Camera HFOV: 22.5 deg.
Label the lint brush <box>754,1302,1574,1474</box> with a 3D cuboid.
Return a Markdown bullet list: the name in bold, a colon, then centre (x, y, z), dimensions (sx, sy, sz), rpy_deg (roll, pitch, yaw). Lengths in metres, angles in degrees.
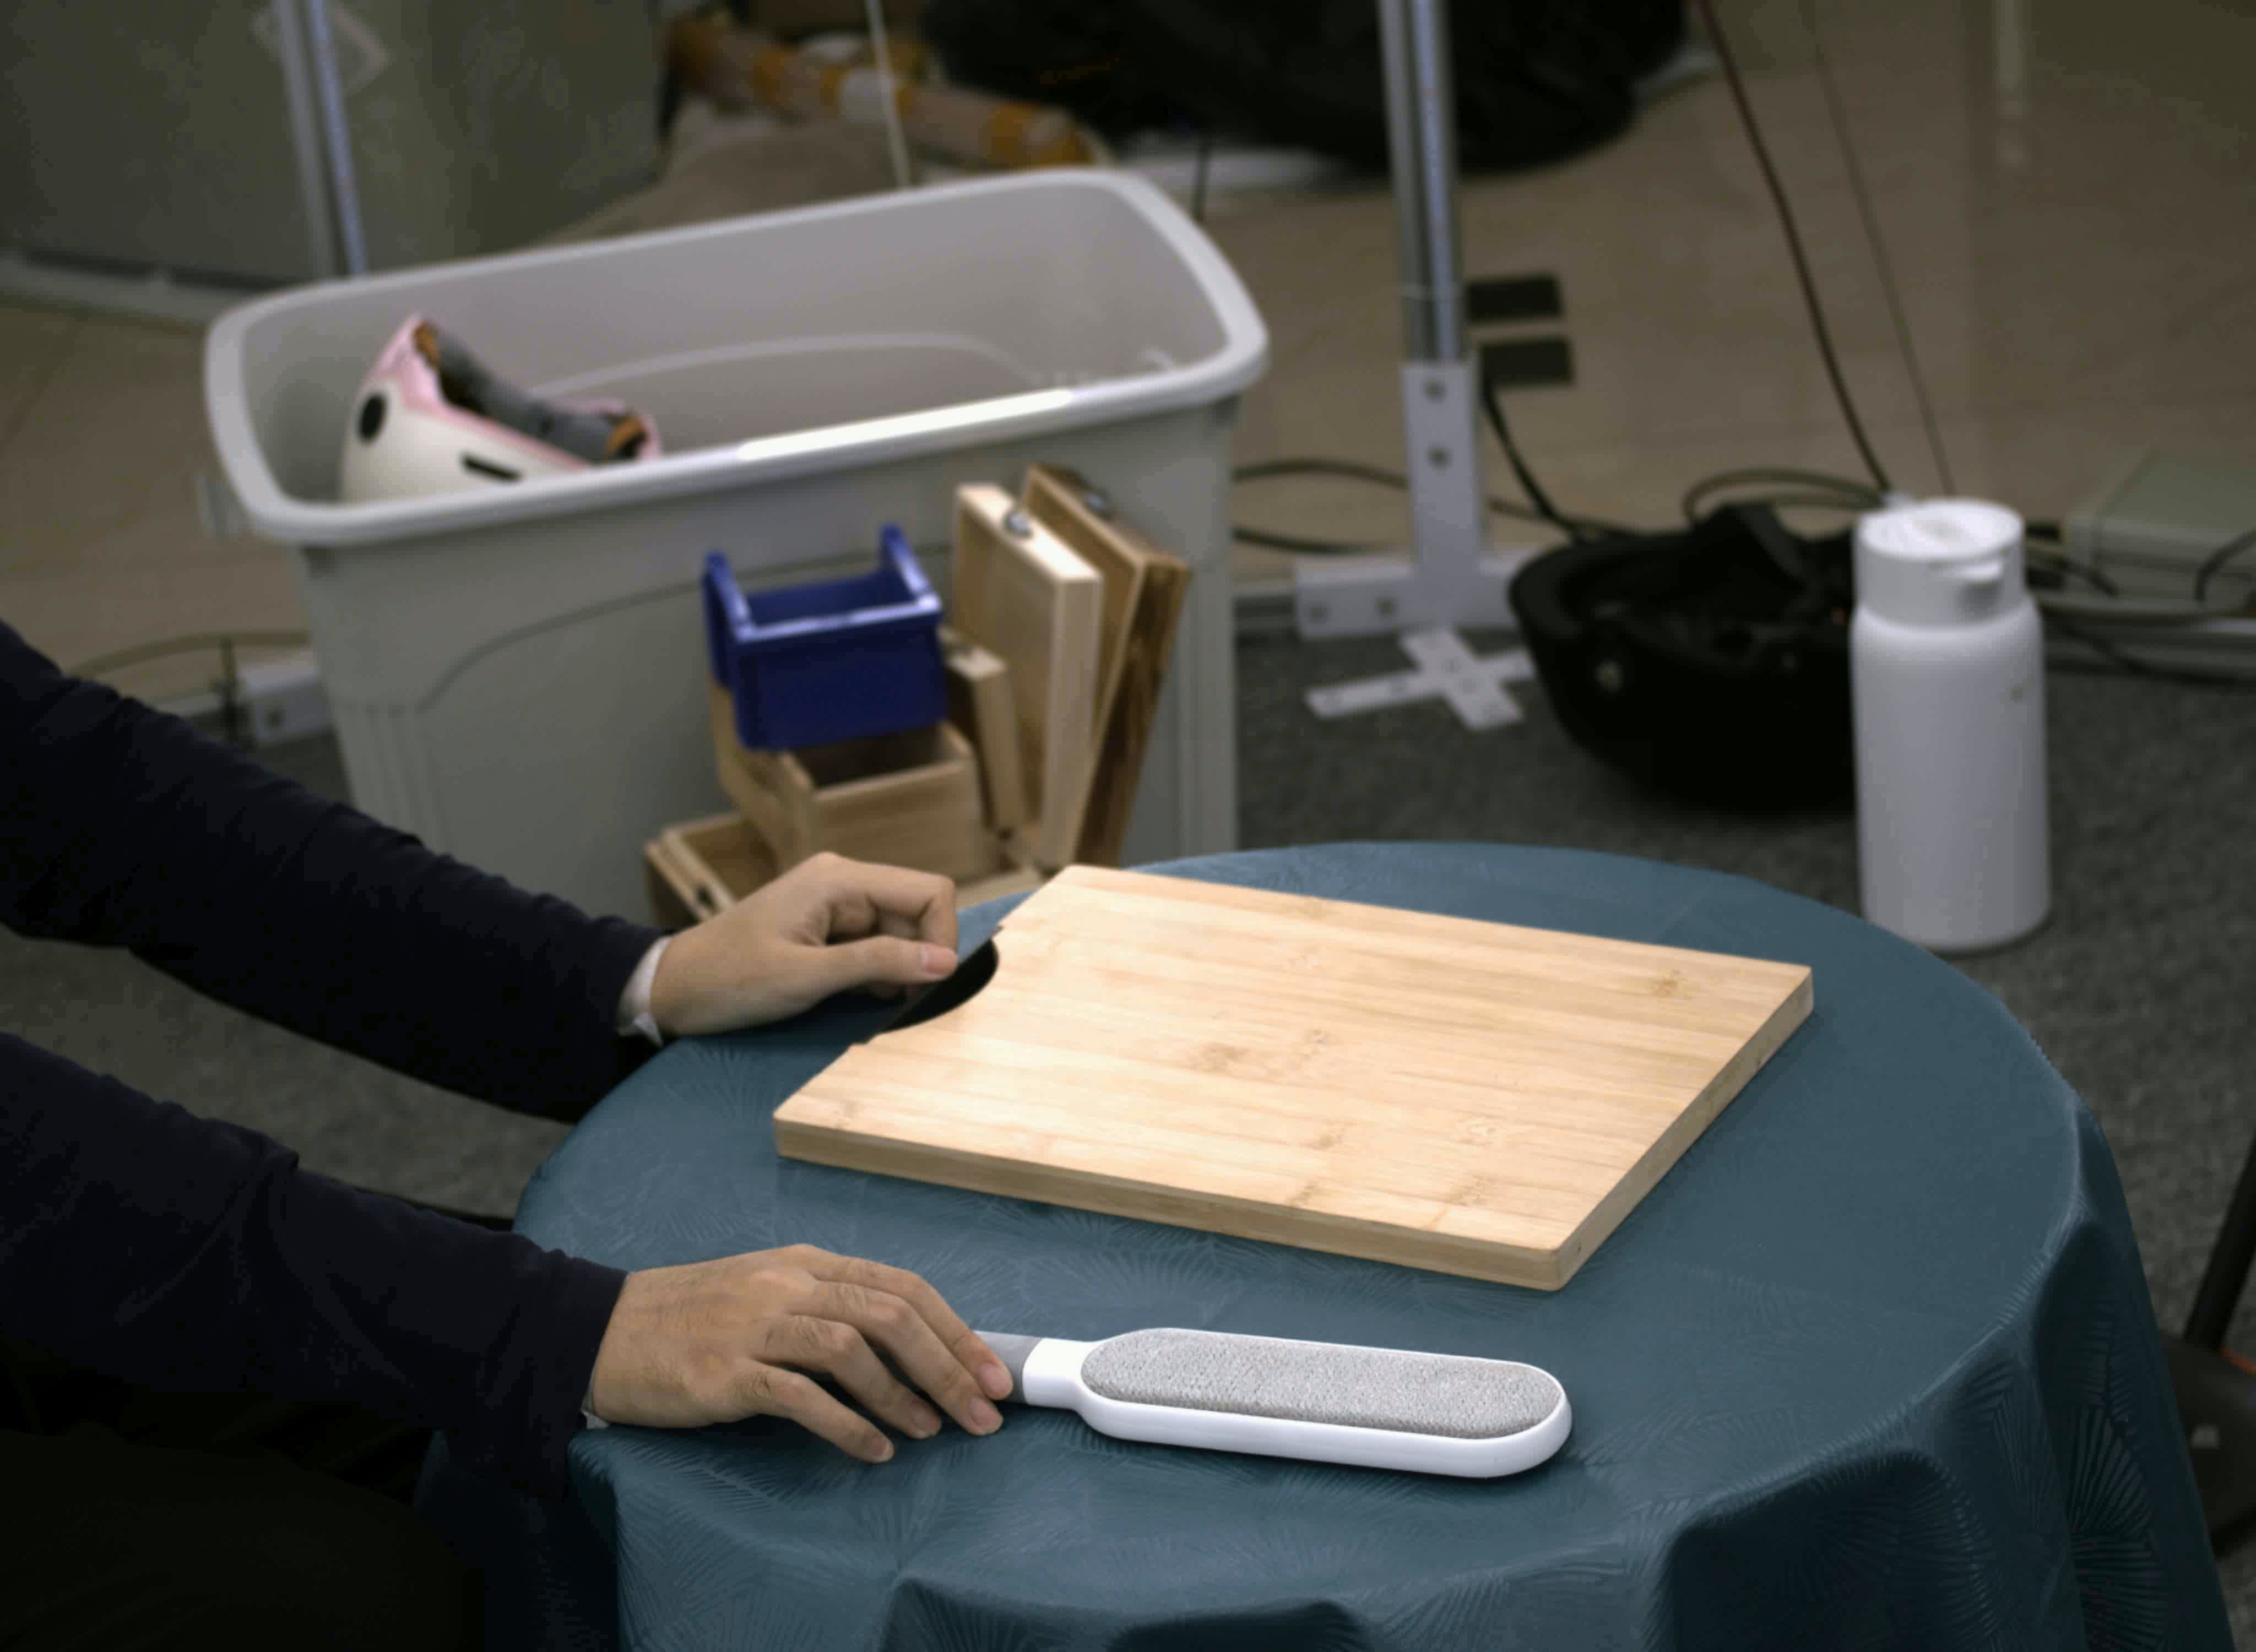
- **lint brush**: centre (0.008, 0.193, 2.001), dimensions (0.308, 0.021, 0.059), rpy_deg (4, 32, 23)

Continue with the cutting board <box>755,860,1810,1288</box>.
- **cutting board**: centre (0.061, 0.092, 2.220), dimensions (0.347, 0.024, 0.248), rpy_deg (8, 28, 28)
